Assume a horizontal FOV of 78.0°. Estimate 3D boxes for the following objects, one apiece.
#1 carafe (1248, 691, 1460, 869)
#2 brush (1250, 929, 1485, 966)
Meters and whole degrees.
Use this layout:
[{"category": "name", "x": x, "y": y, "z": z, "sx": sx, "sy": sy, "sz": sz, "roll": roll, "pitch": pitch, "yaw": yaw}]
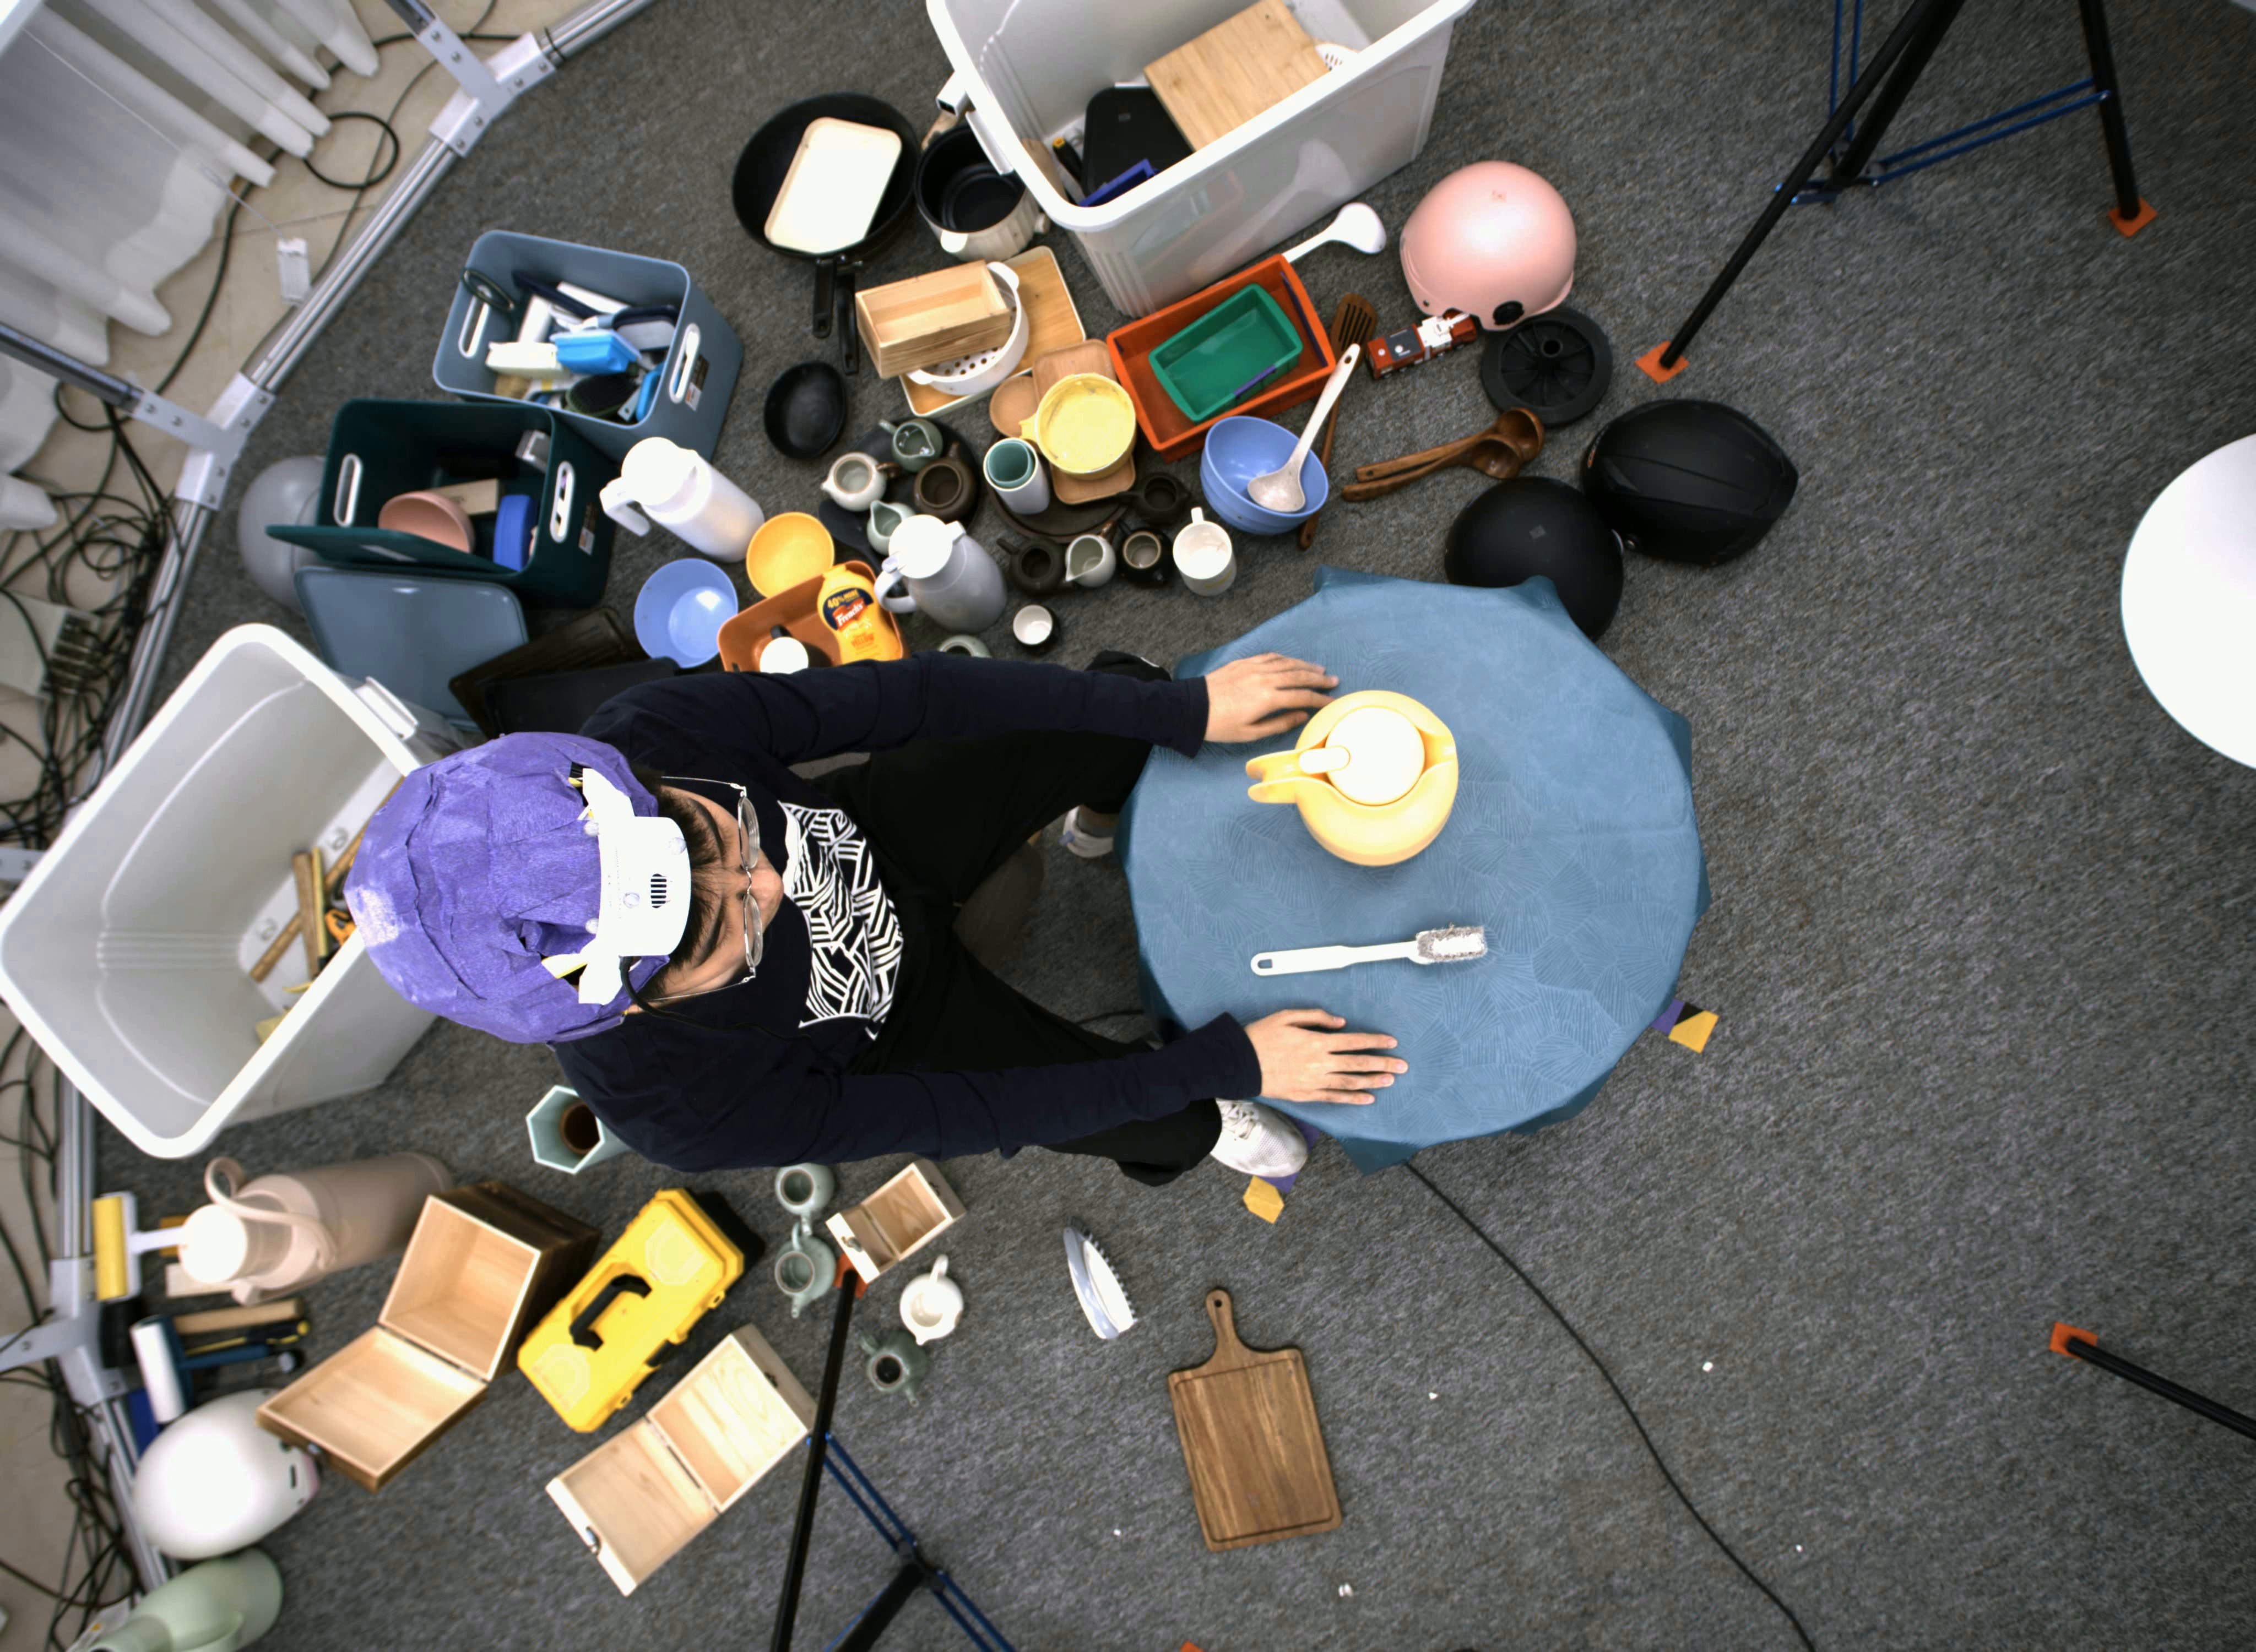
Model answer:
[{"category": "carafe", "x": 0.220, "y": -0.049, "z": 1.342, "sx": 0.203, "sy": 0.261, "sz": 0.162, "roll": -5, "pitch": 82, "yaw": 9}, {"category": "brush", "x": 0.246, "y": 0.128, "z": 1.436, "sx": 0.245, "sy": 0.050, "sz": 0.034, "roll": -4, "pitch": 89, "yaw": 10}]
